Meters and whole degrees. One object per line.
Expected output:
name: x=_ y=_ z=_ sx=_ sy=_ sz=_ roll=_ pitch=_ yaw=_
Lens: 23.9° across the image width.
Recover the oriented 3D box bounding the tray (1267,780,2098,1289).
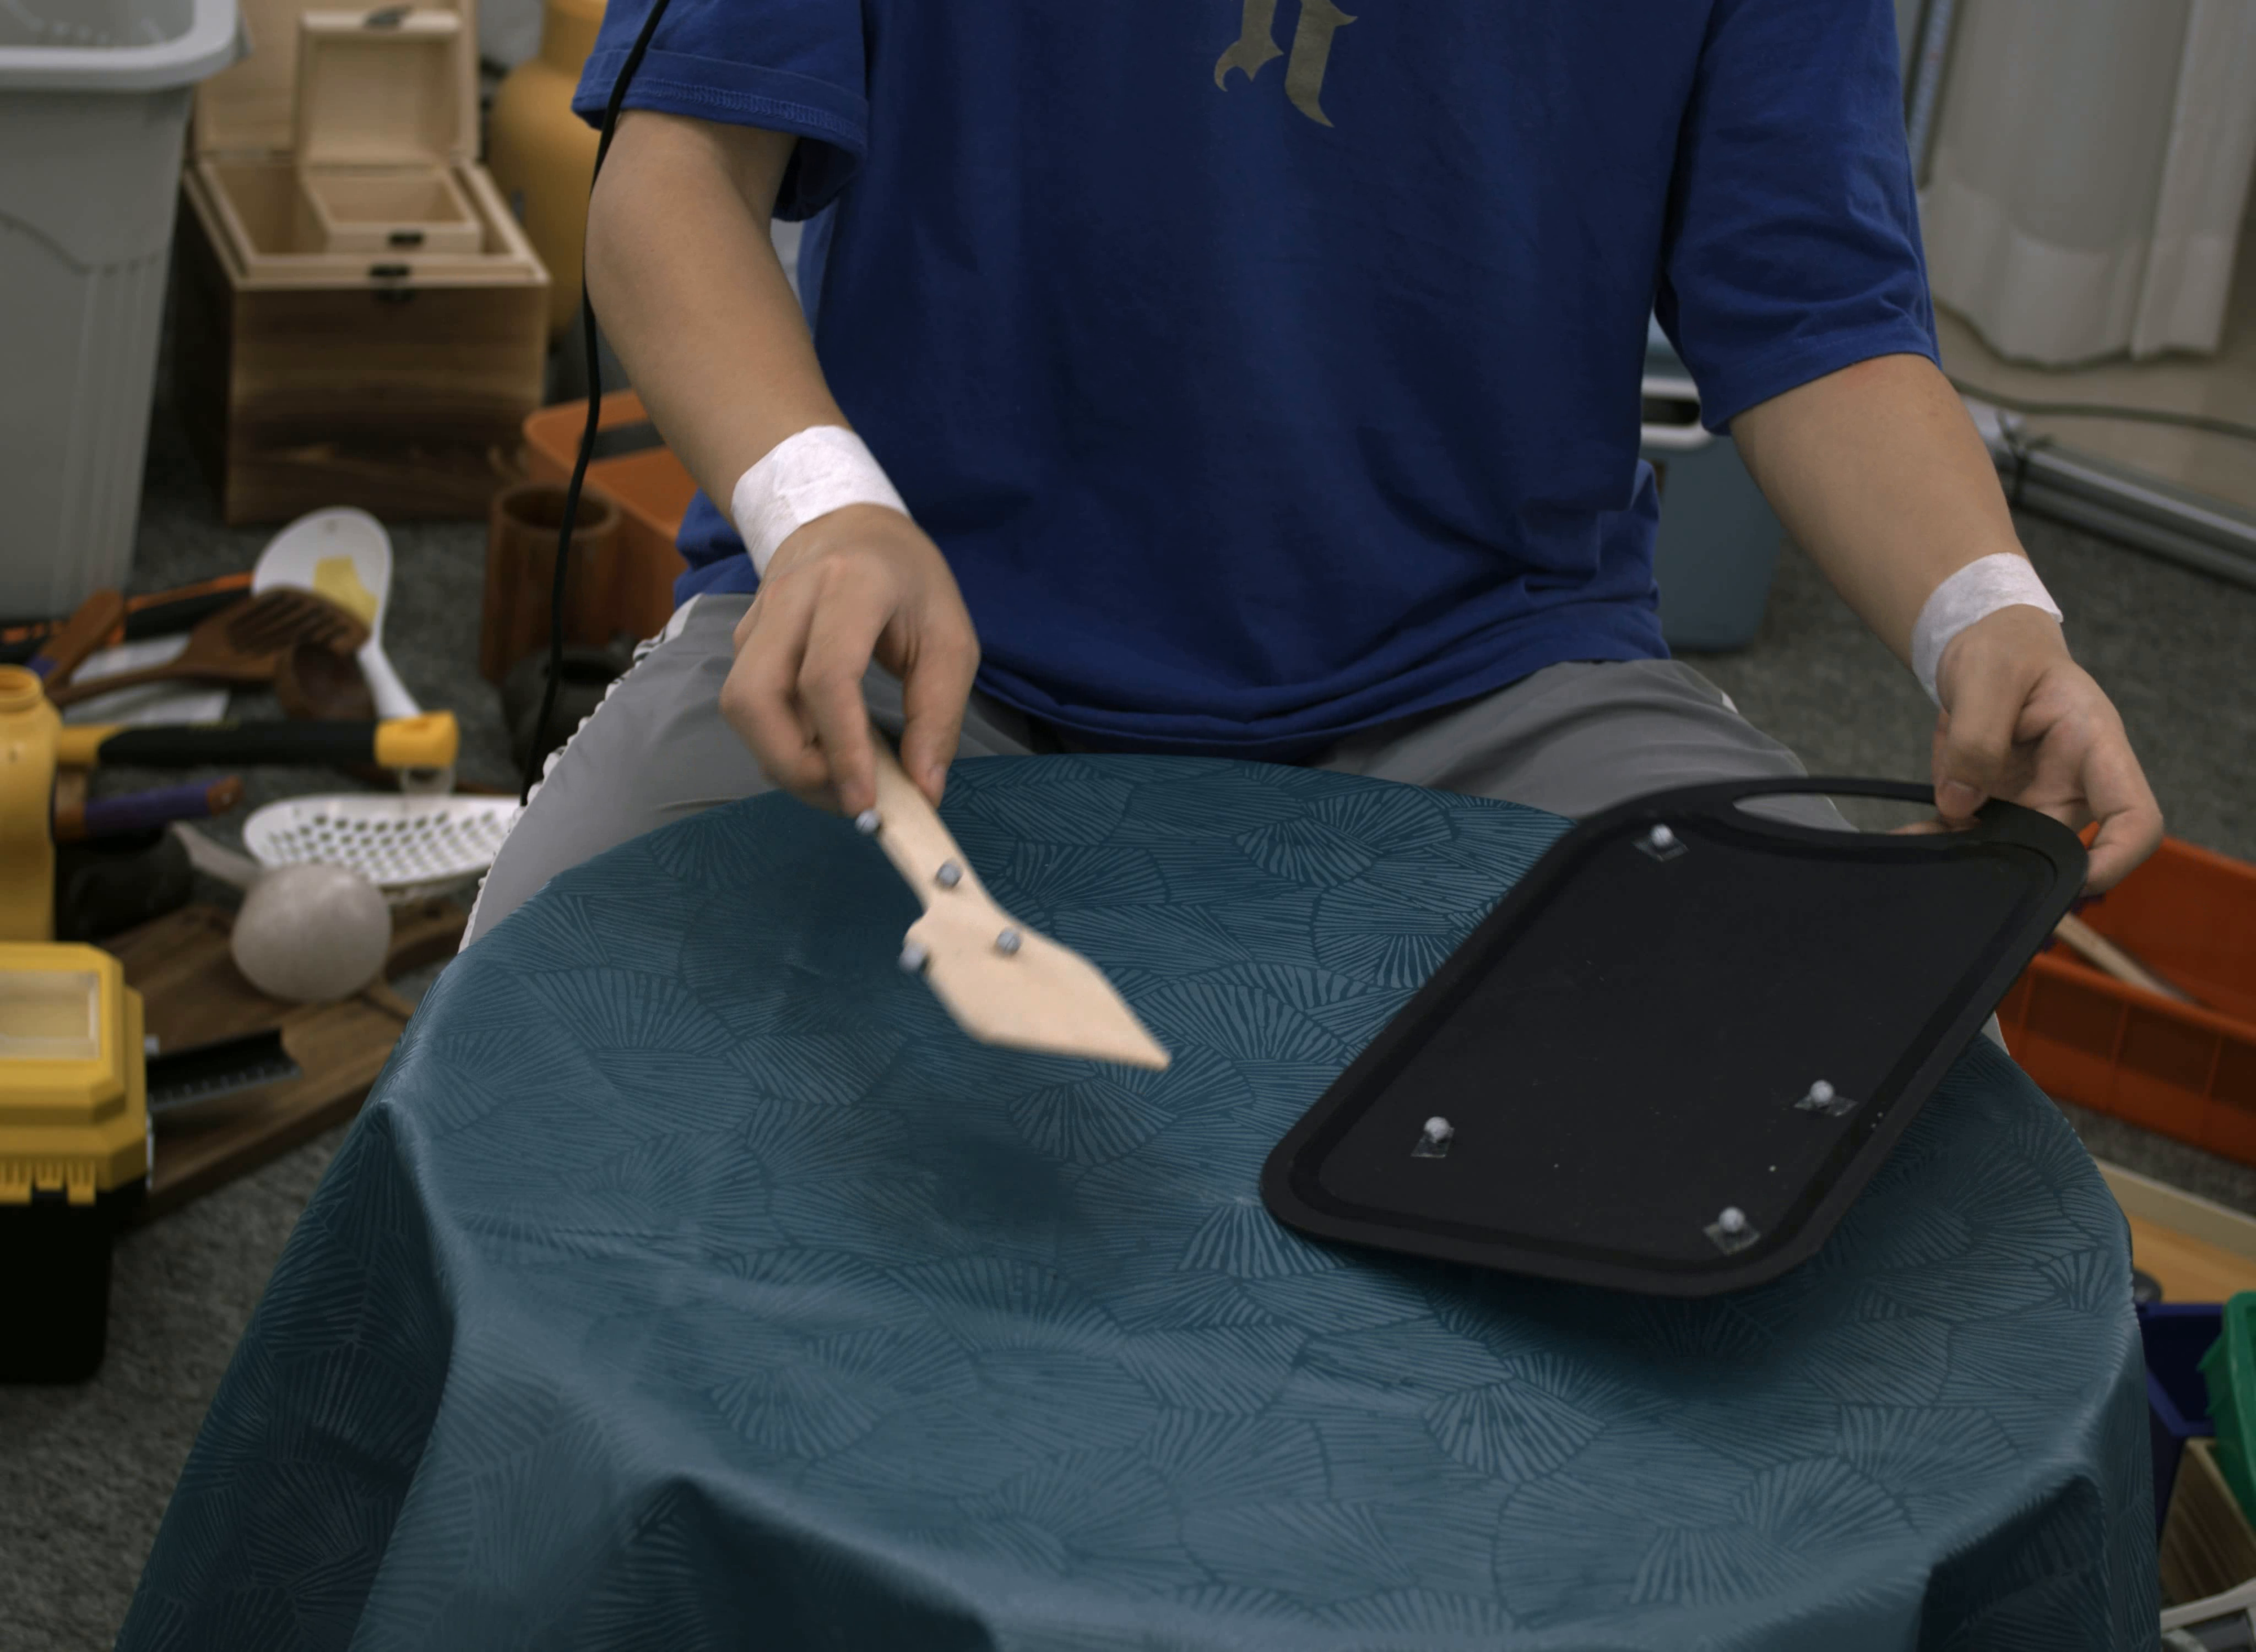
tray: x=0.200 y=0.062 z=1.860 sx=0.212 sy=0.010 sz=0.325 roll=7 pitch=33 yaw=34

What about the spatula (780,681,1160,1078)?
spatula: x=-0.070 y=0.014 z=1.859 sx=0.071 sy=0.010 sz=0.295 roll=8 pitch=23 yaw=-26
